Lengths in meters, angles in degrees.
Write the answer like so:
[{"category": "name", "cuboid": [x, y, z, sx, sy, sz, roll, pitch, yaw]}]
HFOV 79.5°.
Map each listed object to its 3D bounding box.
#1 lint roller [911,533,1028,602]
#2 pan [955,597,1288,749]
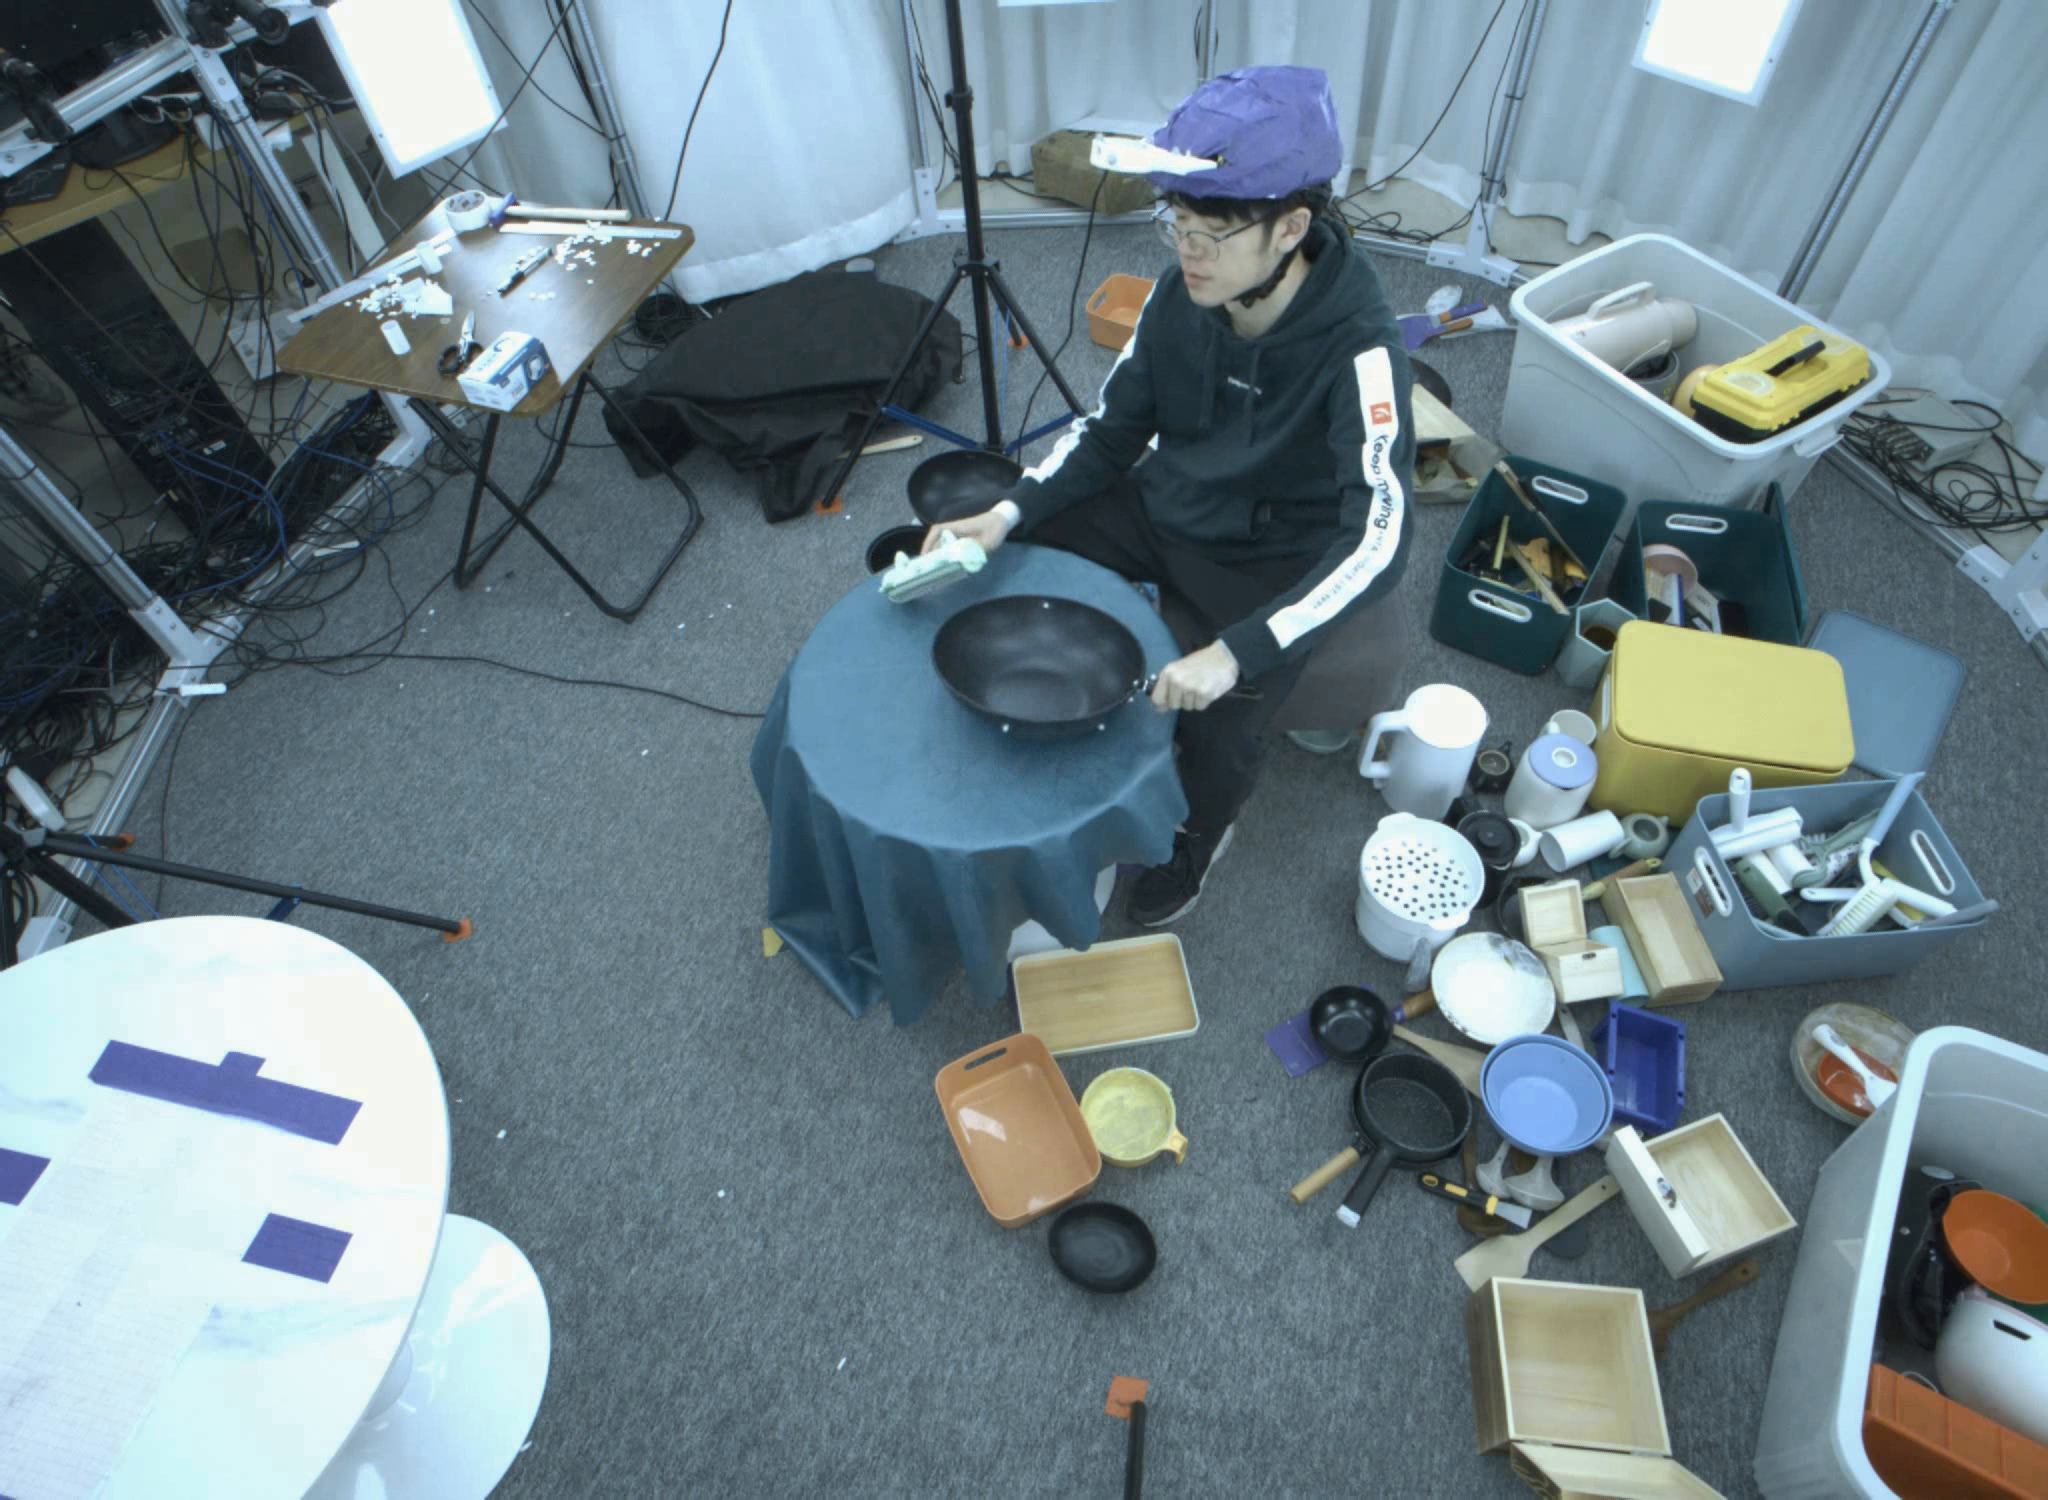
[{"category": "lint roller", "cuboid": [-0.065, -0.309, 1.912, 0.195, 0.083, 0.184, -10, 27, 46]}, {"category": "pan", "cuboid": [0.133, -0.085, 1.755, 0.473, 0.112, 0.310, 16, 44, 11]}]
